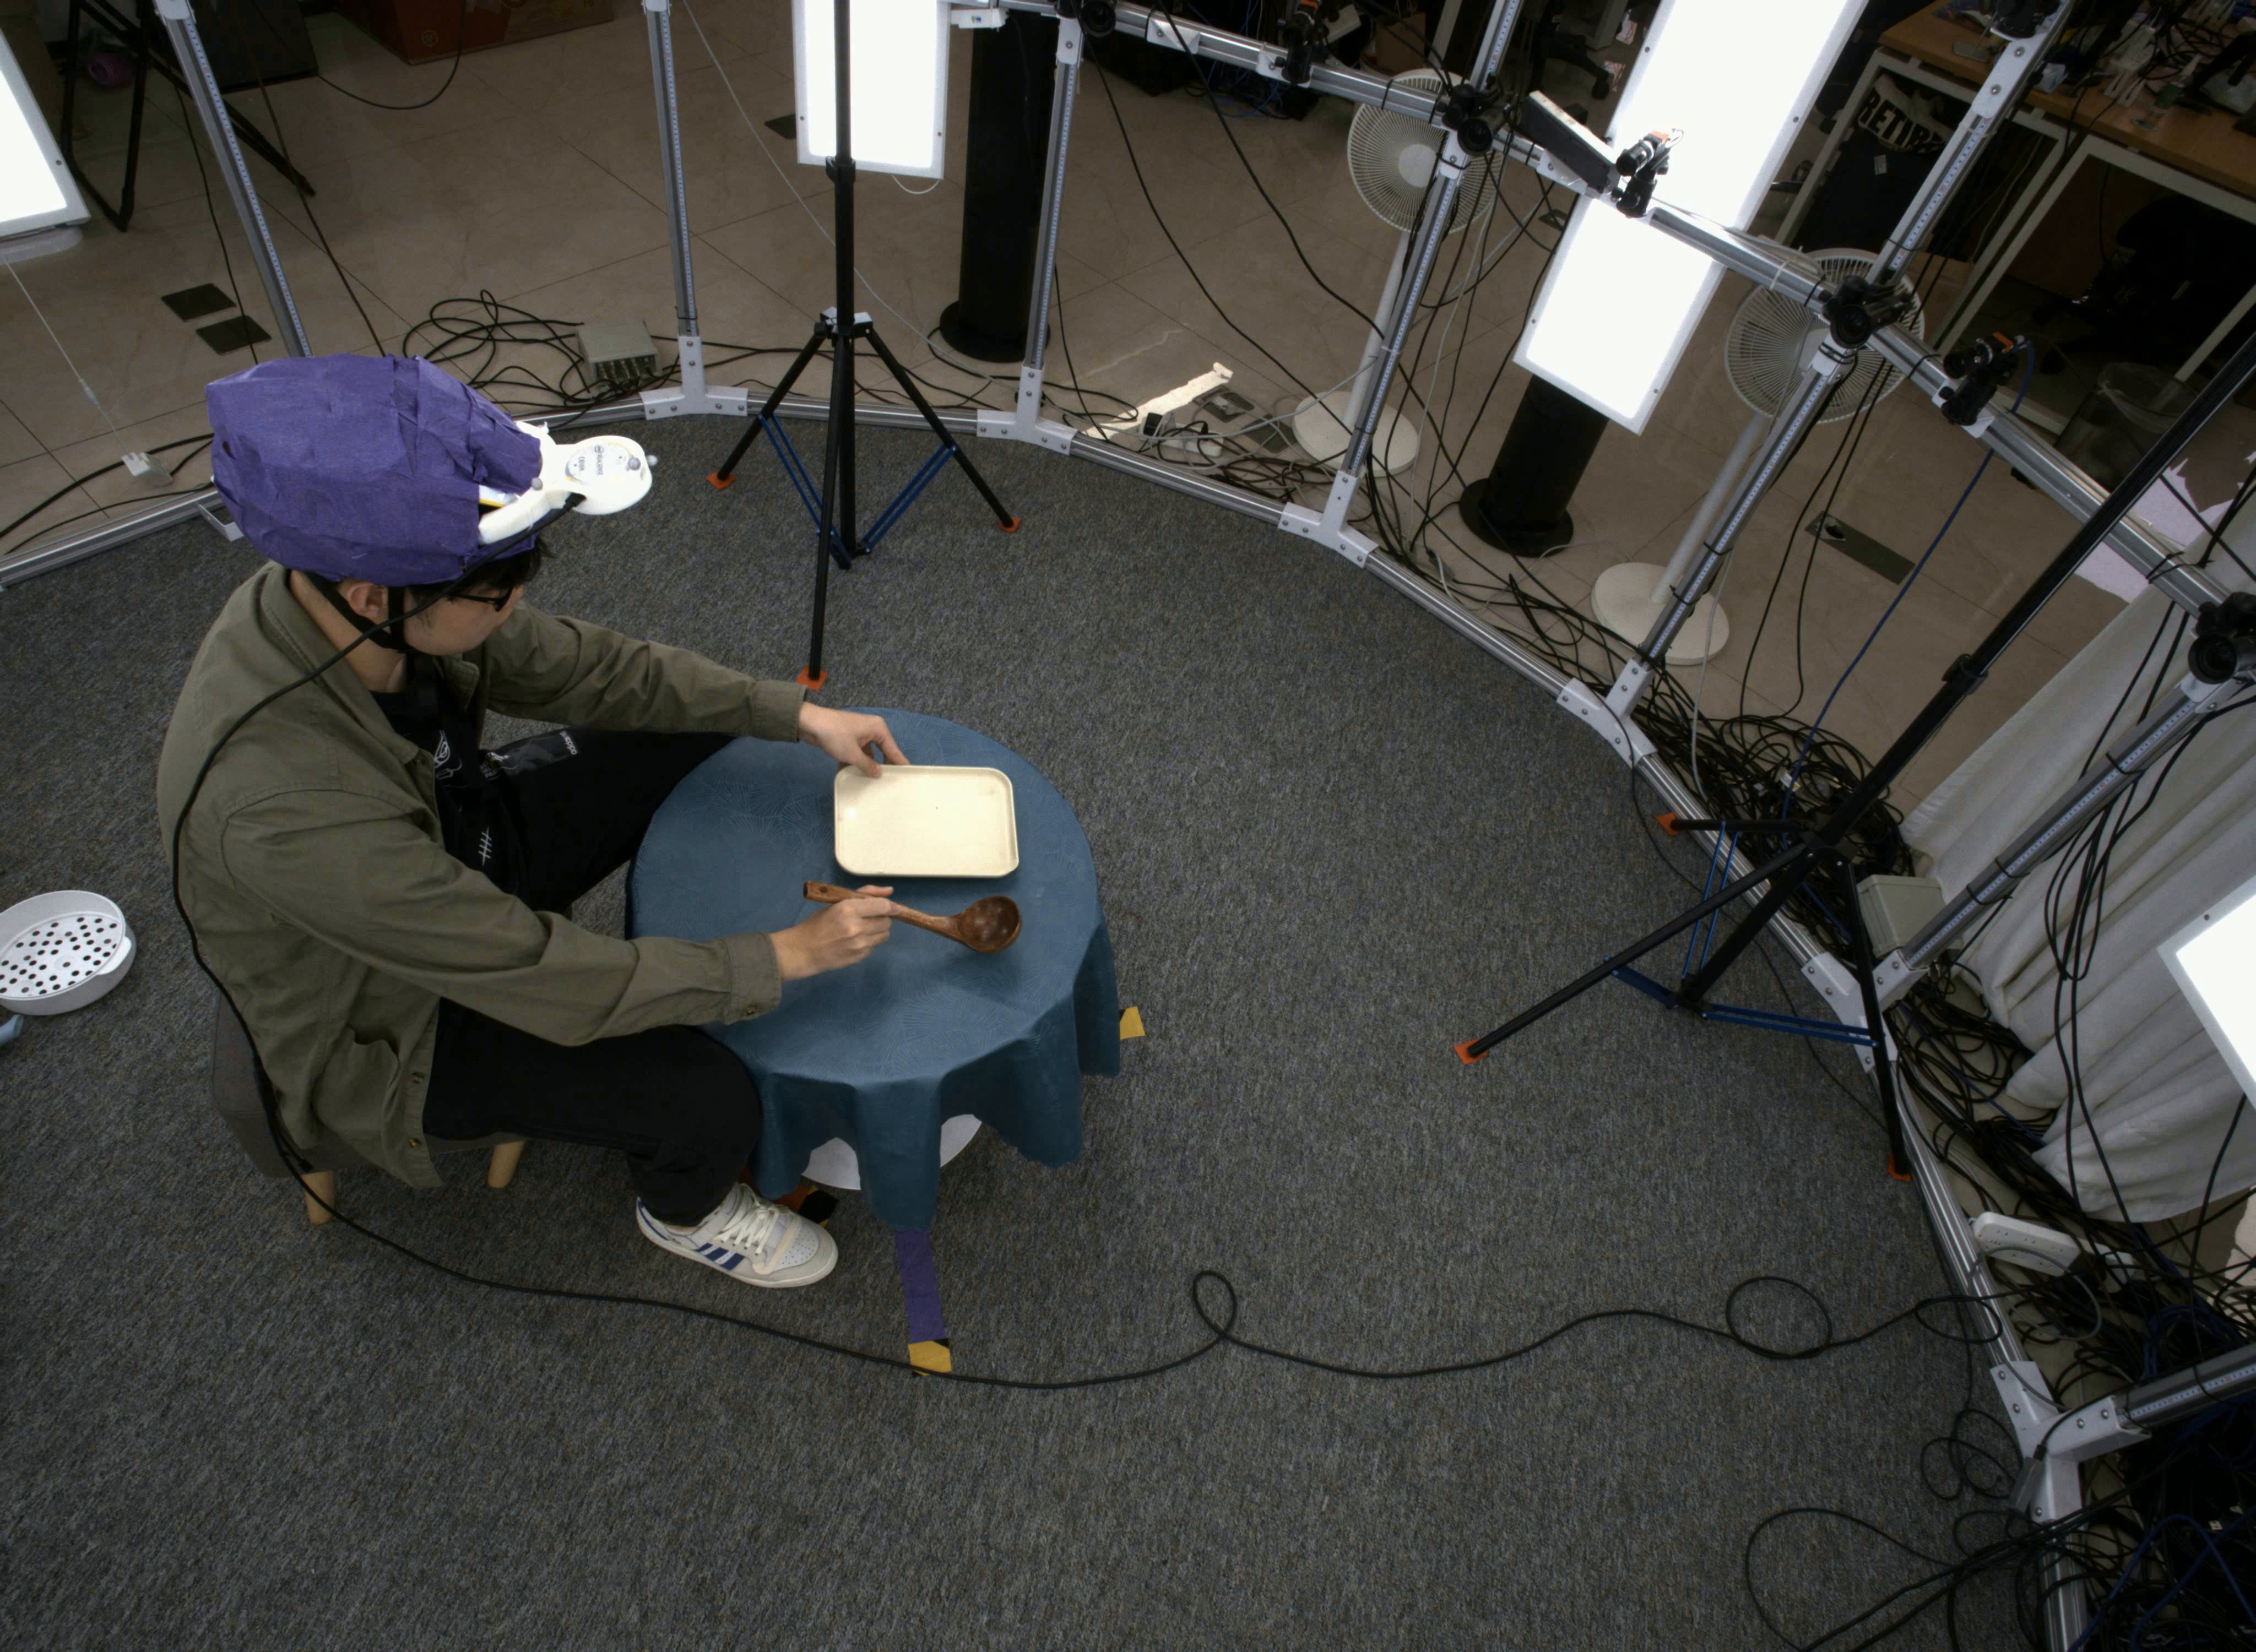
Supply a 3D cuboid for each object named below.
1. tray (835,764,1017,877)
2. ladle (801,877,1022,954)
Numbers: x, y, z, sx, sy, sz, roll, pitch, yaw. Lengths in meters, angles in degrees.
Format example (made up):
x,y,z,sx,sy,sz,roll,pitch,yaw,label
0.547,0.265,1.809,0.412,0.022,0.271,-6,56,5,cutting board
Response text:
x,y,z,sx,sy,sz,roll,pitch,yaw,label
-0.270,-0.007,1.735,0.241,0.018,0.168,1,60,-17,tray
-0.254,0.092,1.576,0.281,0.077,0.080,21,36,-34,ladle
